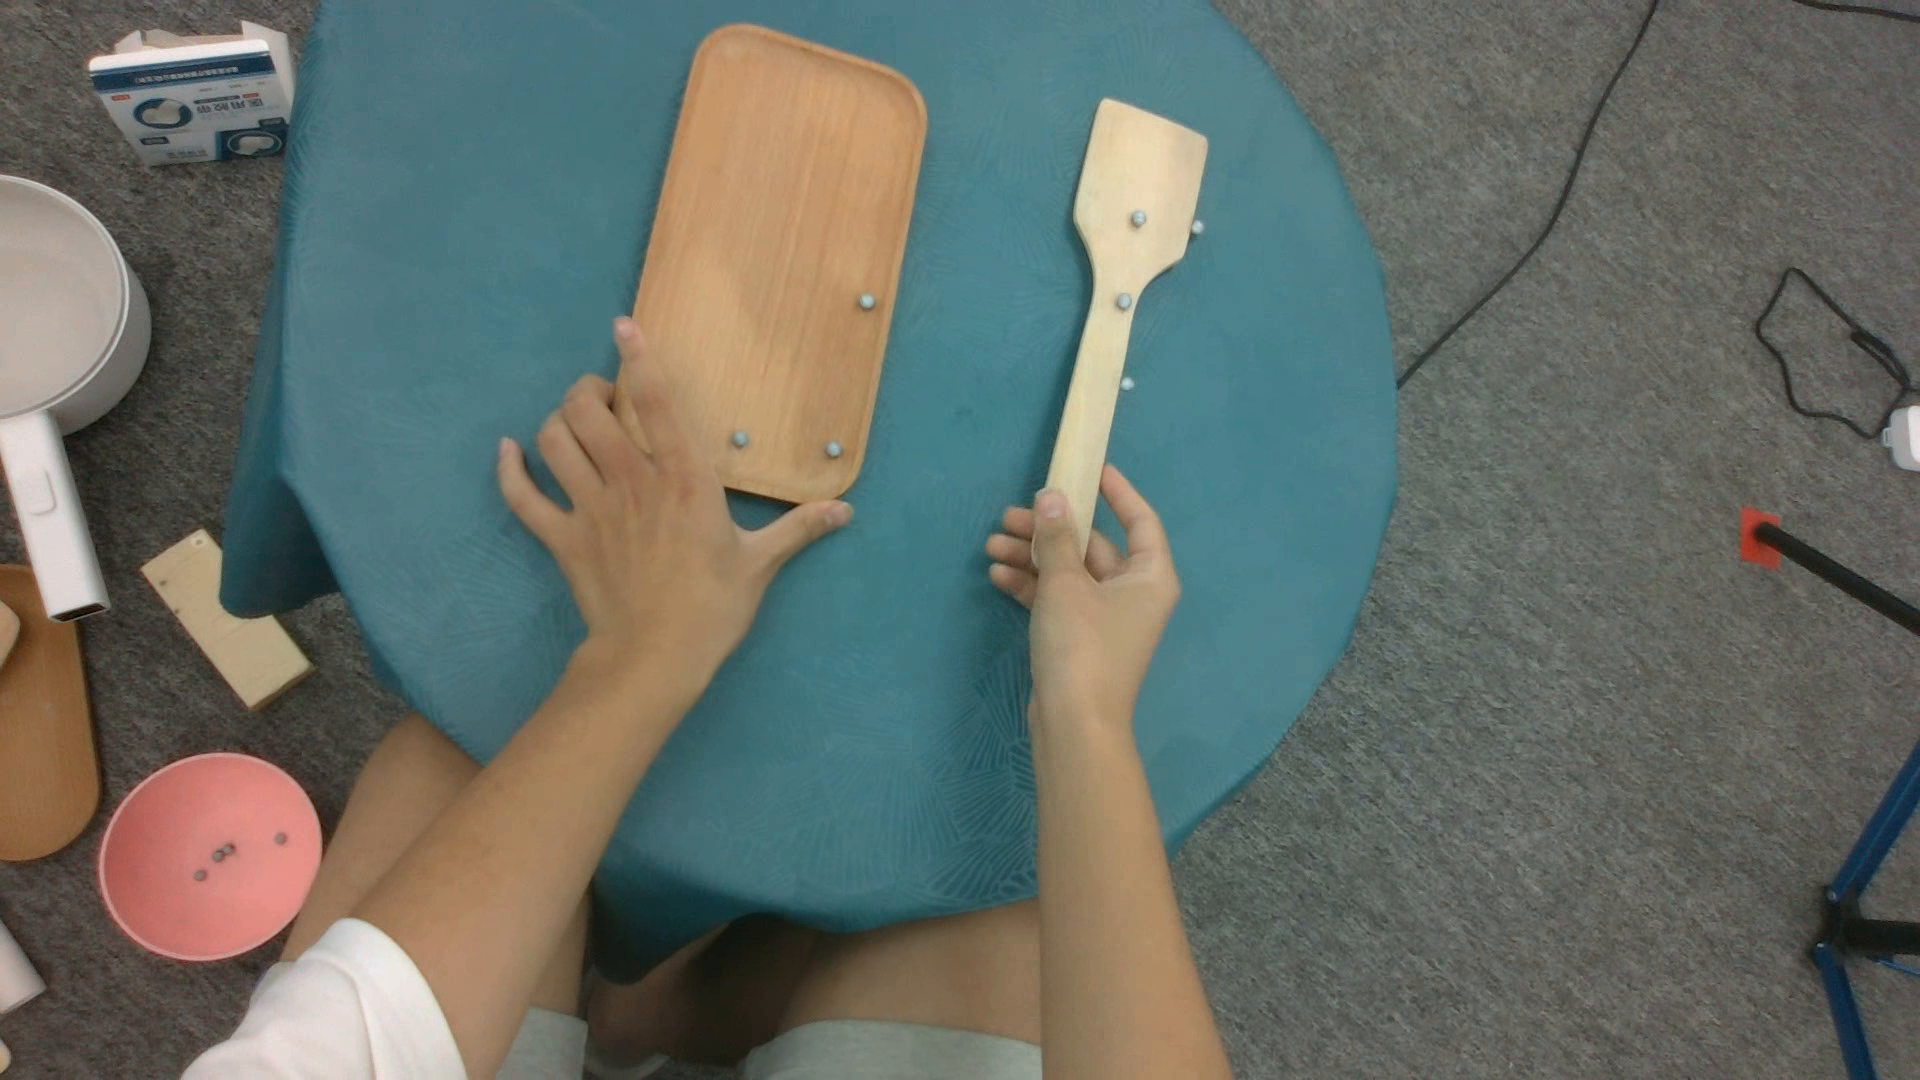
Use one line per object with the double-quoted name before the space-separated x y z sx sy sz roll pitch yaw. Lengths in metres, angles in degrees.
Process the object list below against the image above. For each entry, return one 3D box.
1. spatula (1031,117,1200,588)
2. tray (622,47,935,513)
"spatula" 0.081 -0.108 0.763 0.072 0.010 0.294 18 67 -10
"tray" -0.093 -0.141 0.735 0.130 0.023 0.251 14 74 -13
